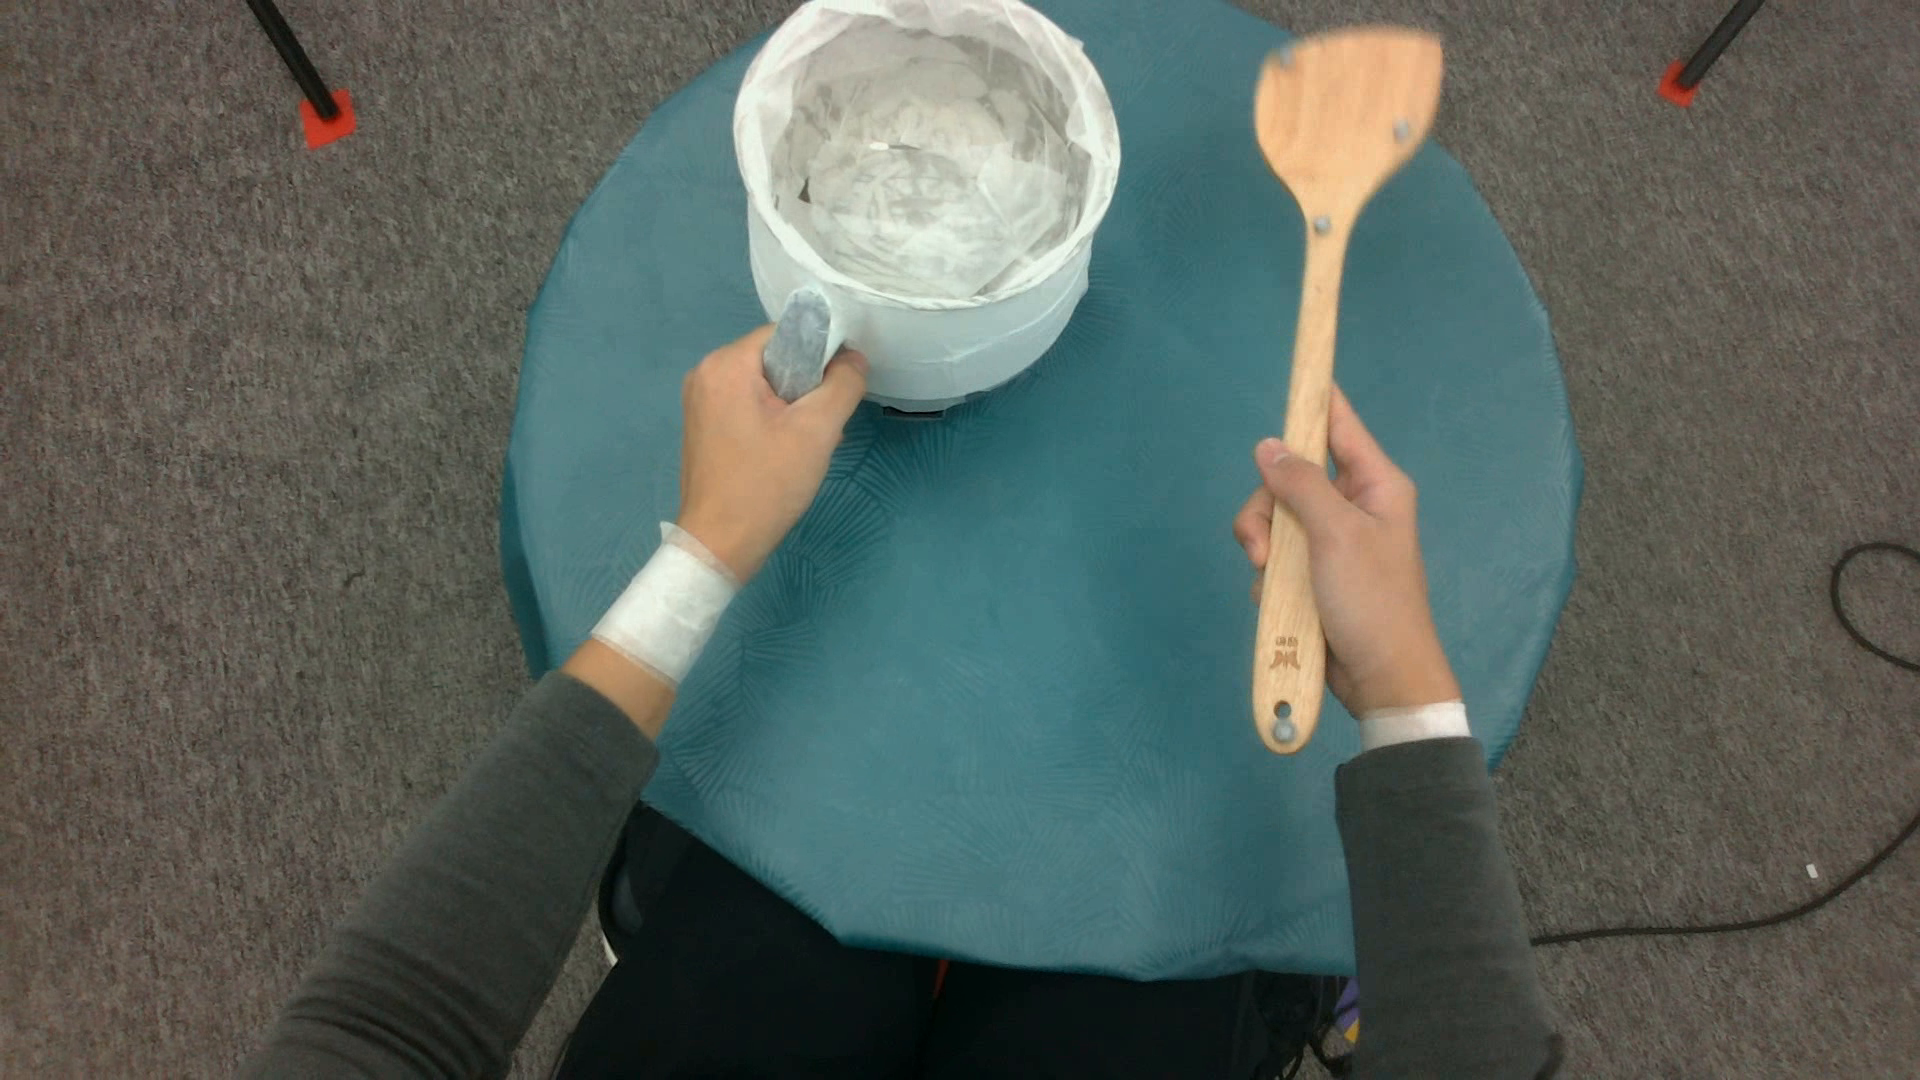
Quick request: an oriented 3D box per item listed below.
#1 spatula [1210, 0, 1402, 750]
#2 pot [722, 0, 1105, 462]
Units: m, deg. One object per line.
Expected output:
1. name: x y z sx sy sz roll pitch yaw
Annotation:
1. spatula: 0.155 -0.099 0.638 0.095 0.018 0.391 -3 73 31
2. pot: -0.040 -0.149 0.683 0.179 0.136 0.234 29 71 4
